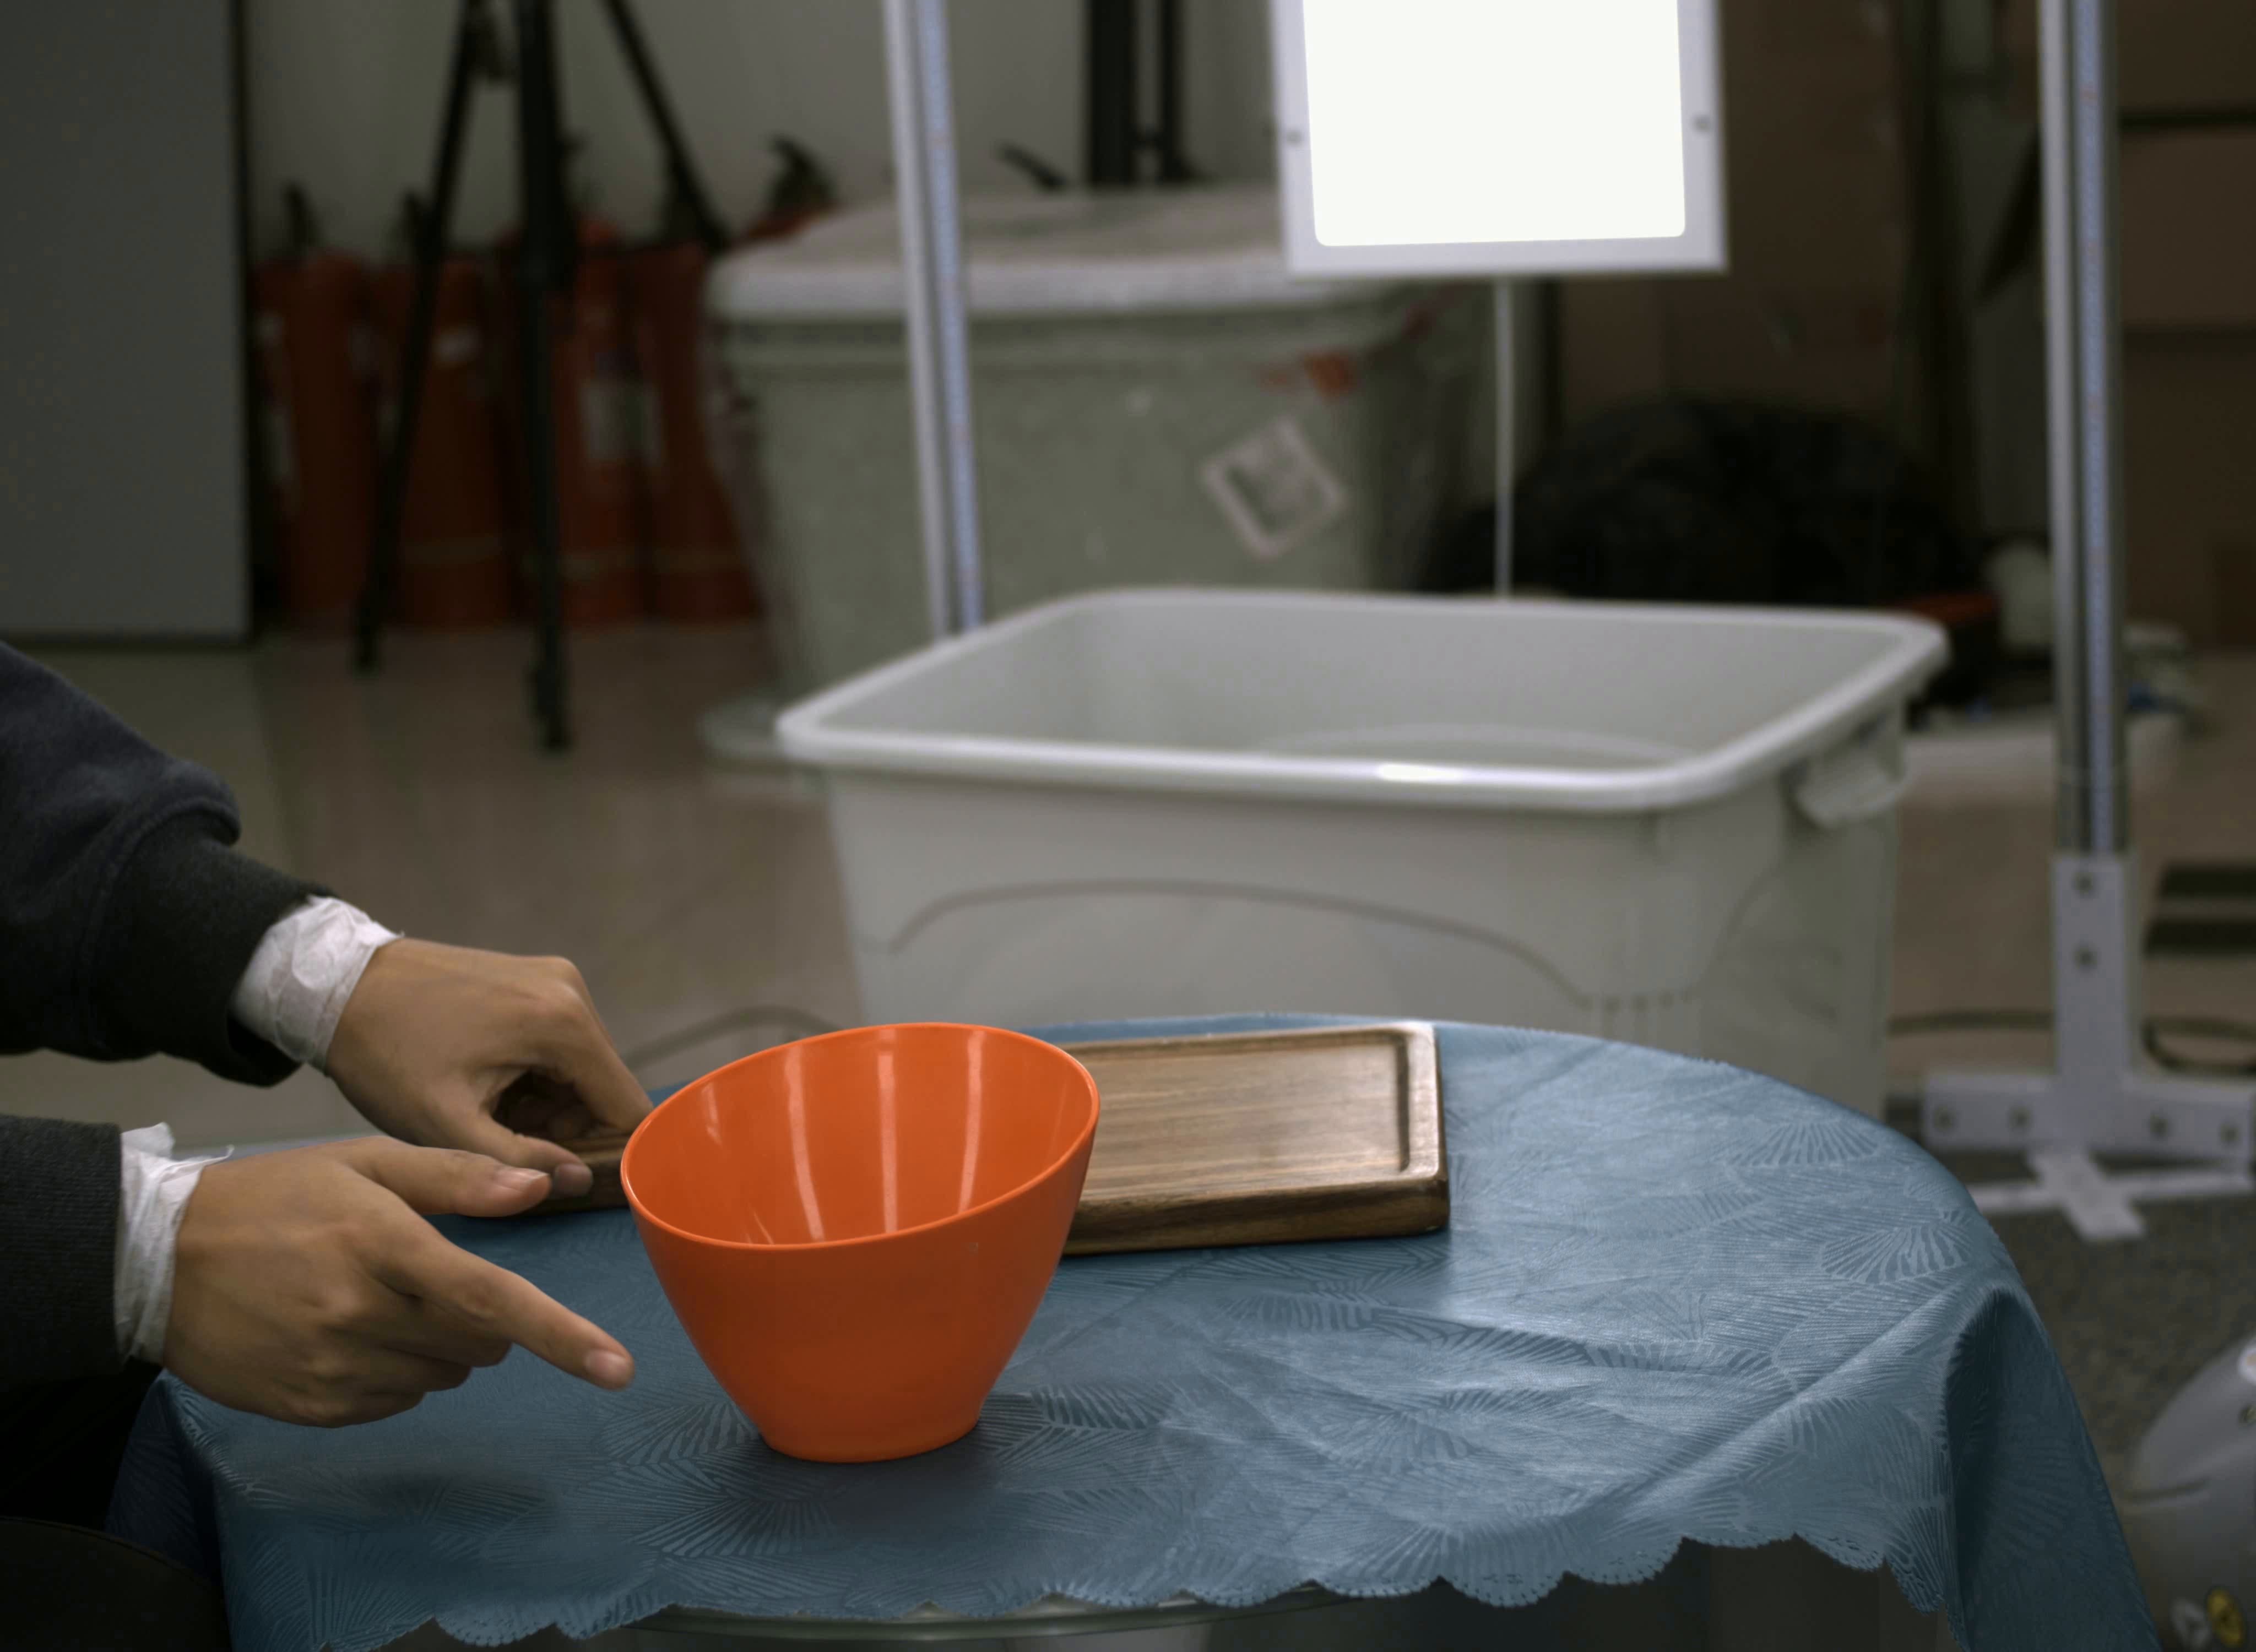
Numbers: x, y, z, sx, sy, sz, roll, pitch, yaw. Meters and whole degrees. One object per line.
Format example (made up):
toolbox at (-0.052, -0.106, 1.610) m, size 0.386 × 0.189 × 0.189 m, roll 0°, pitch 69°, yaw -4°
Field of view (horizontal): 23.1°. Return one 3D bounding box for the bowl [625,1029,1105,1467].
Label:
bowl at (-0.078, 0.132, 1.687) m, size 0.147 × 0.105 × 0.148 m, roll -4°, pitch 14°, yaw 0°

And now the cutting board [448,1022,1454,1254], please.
cutting board at (-0.063, 0.114, 1.929) m, size 0.353 × 0.023 × 0.200 m, roll -4°, pitch 14°, yaw 5°
